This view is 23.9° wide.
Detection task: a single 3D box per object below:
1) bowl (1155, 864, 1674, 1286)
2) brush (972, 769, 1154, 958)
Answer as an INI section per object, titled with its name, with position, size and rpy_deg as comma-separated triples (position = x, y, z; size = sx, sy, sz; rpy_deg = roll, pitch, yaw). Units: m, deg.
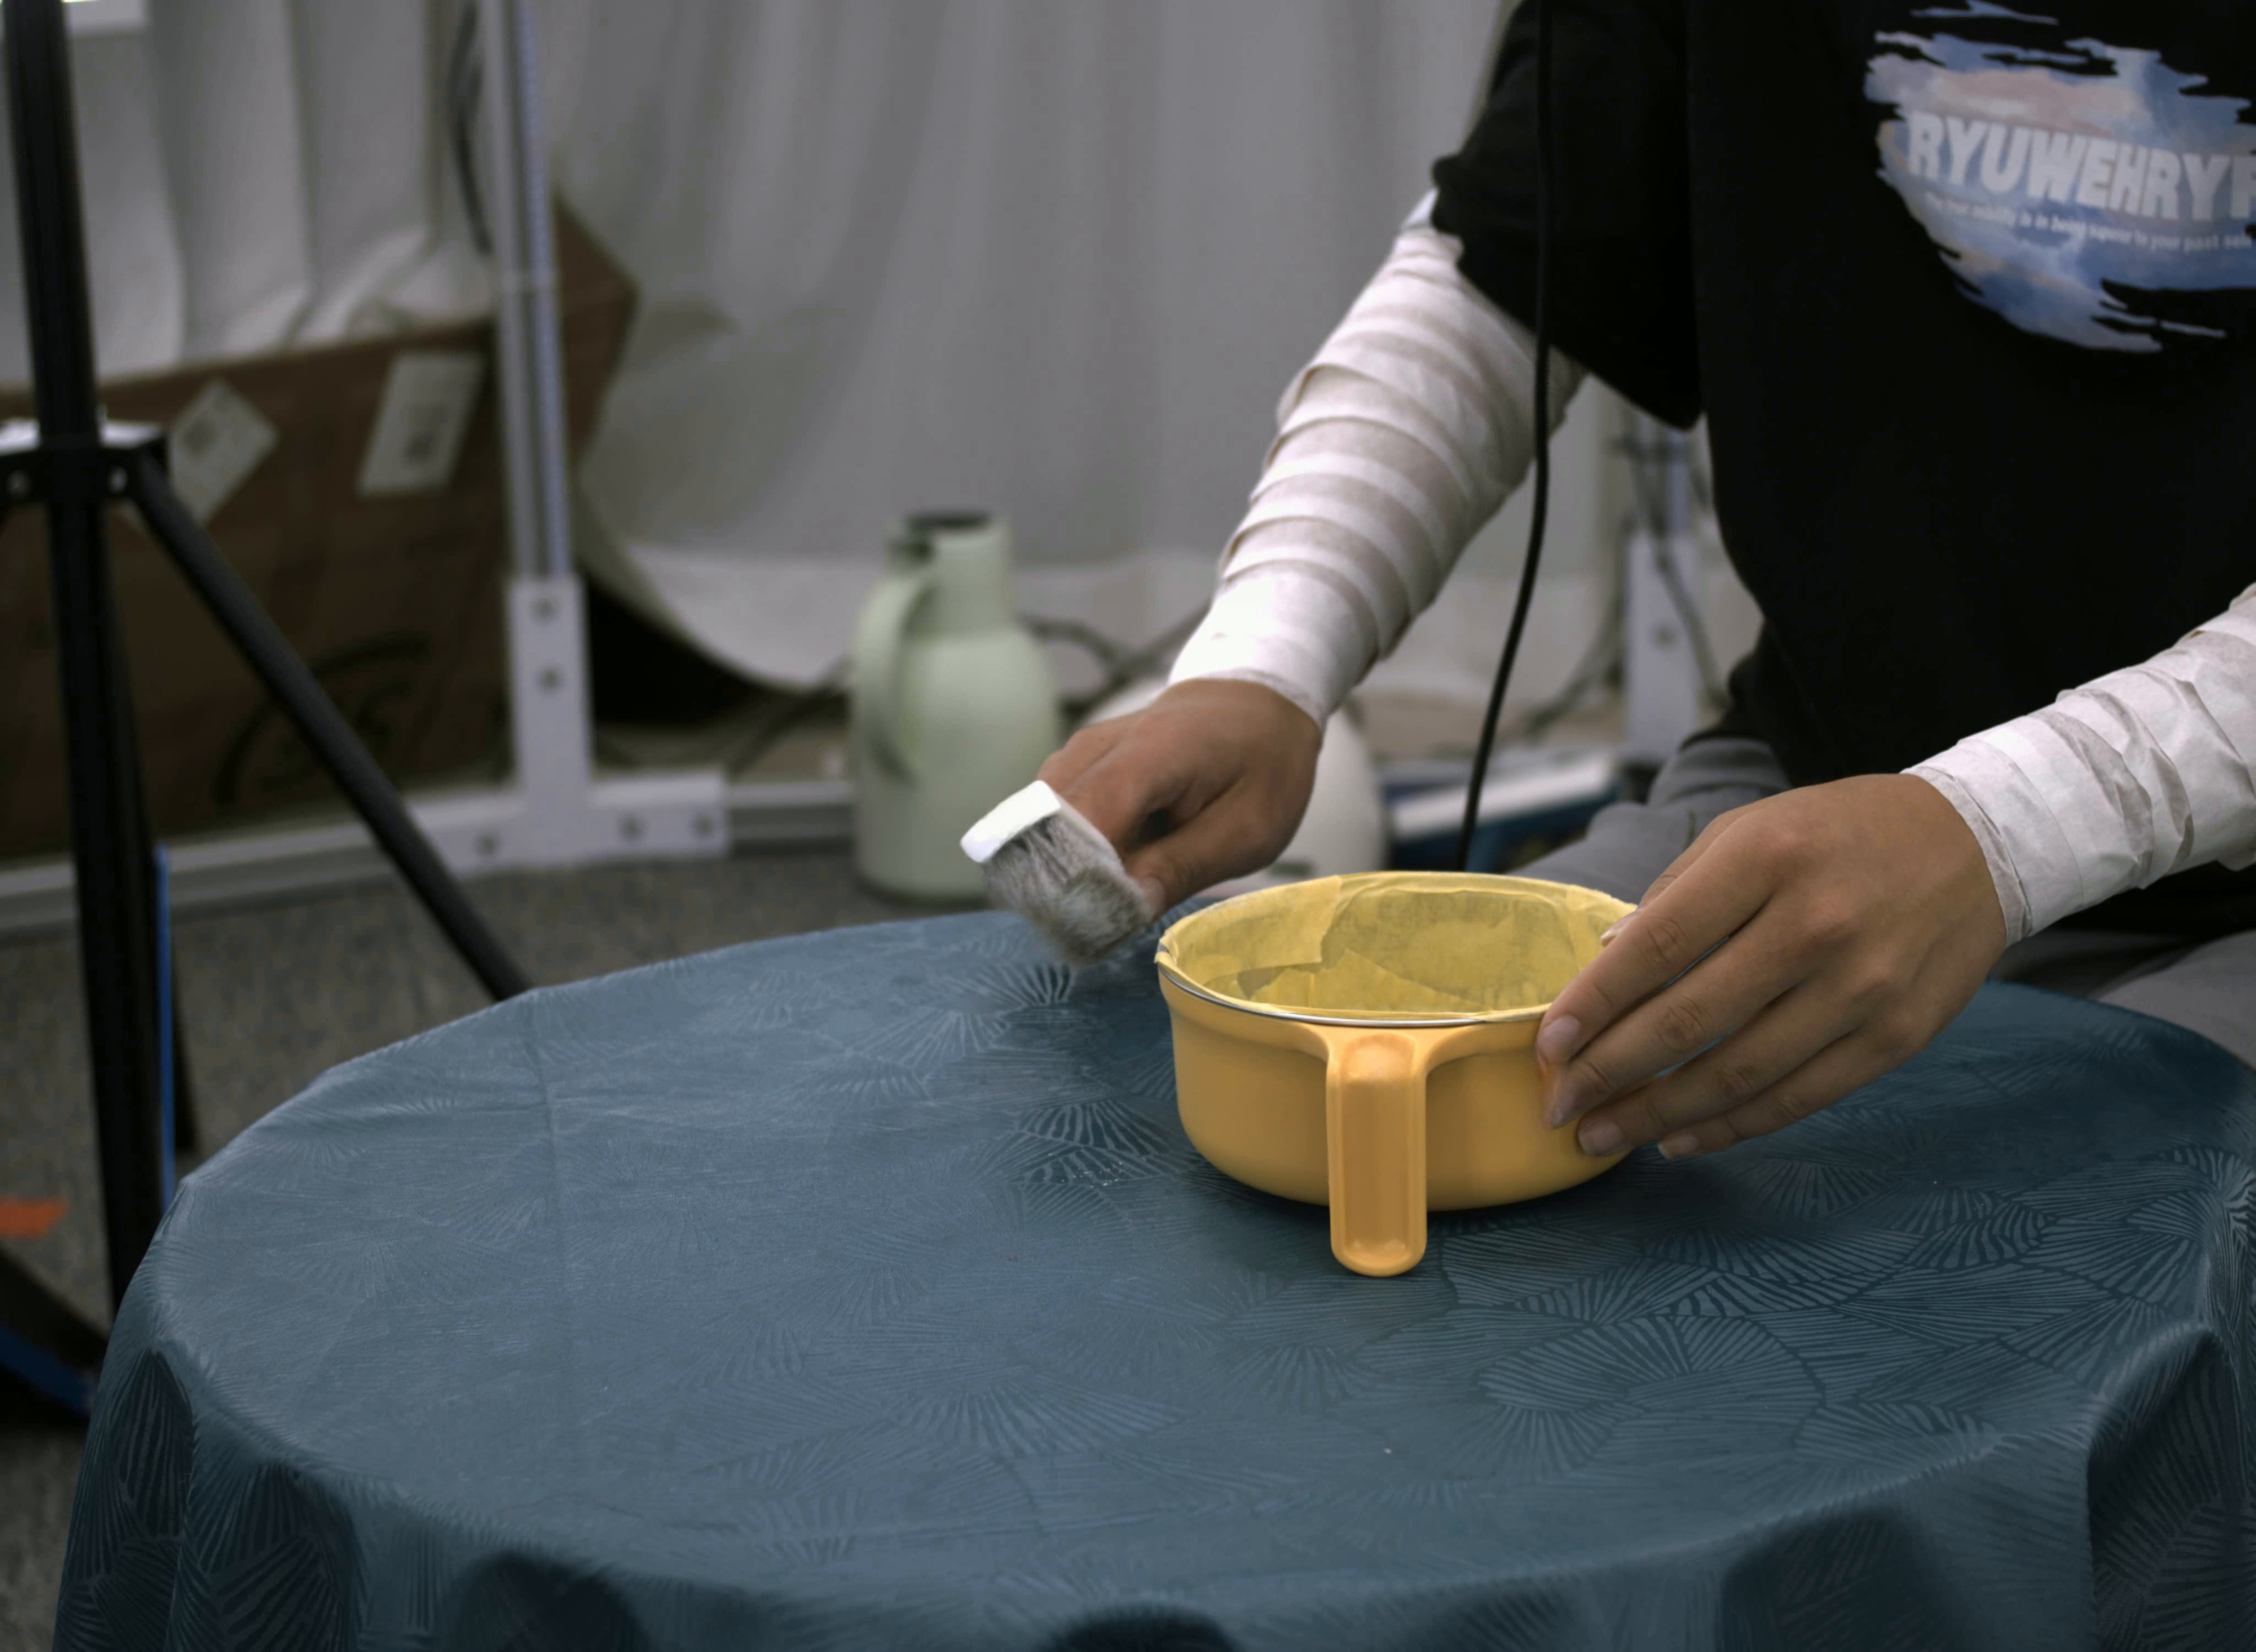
[bowl]
position = 0.082, 0.070, 1.558
size = 0.153, 0.074, 0.179
rpy_deg = 4, 17, 6
[brush]
position = -0.009, 0.023, 1.704
size = 0.034, 0.050, 0.241
rpy_deg = -40, -10, 0
